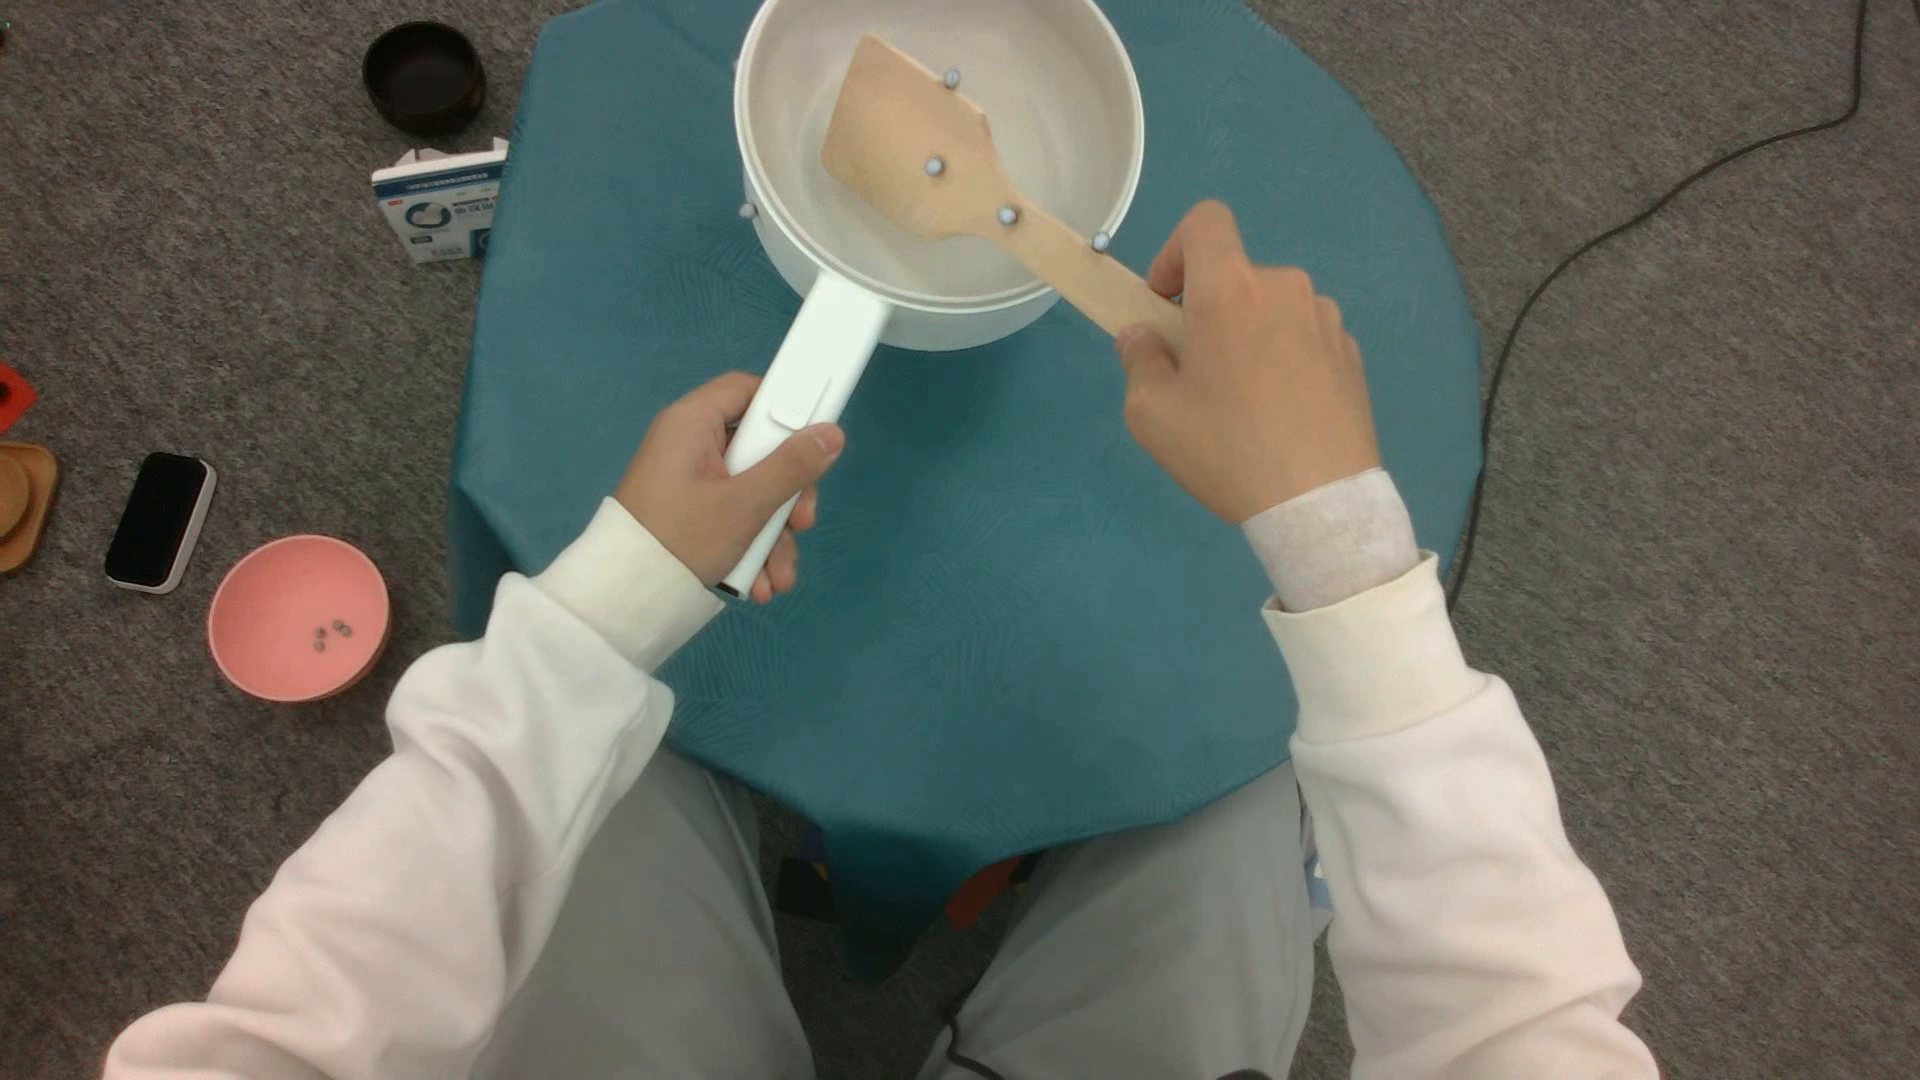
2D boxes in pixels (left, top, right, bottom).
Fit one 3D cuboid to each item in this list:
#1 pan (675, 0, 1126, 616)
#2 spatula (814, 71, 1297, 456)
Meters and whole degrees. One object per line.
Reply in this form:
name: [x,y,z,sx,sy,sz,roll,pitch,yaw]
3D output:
pan: [-0.050,-0.125,0.714,0.201,0.102,0.355,24,77,-4]
spatula: [0.036,-0.126,0.632,0.293,0.072,0.011,40,31,28]
